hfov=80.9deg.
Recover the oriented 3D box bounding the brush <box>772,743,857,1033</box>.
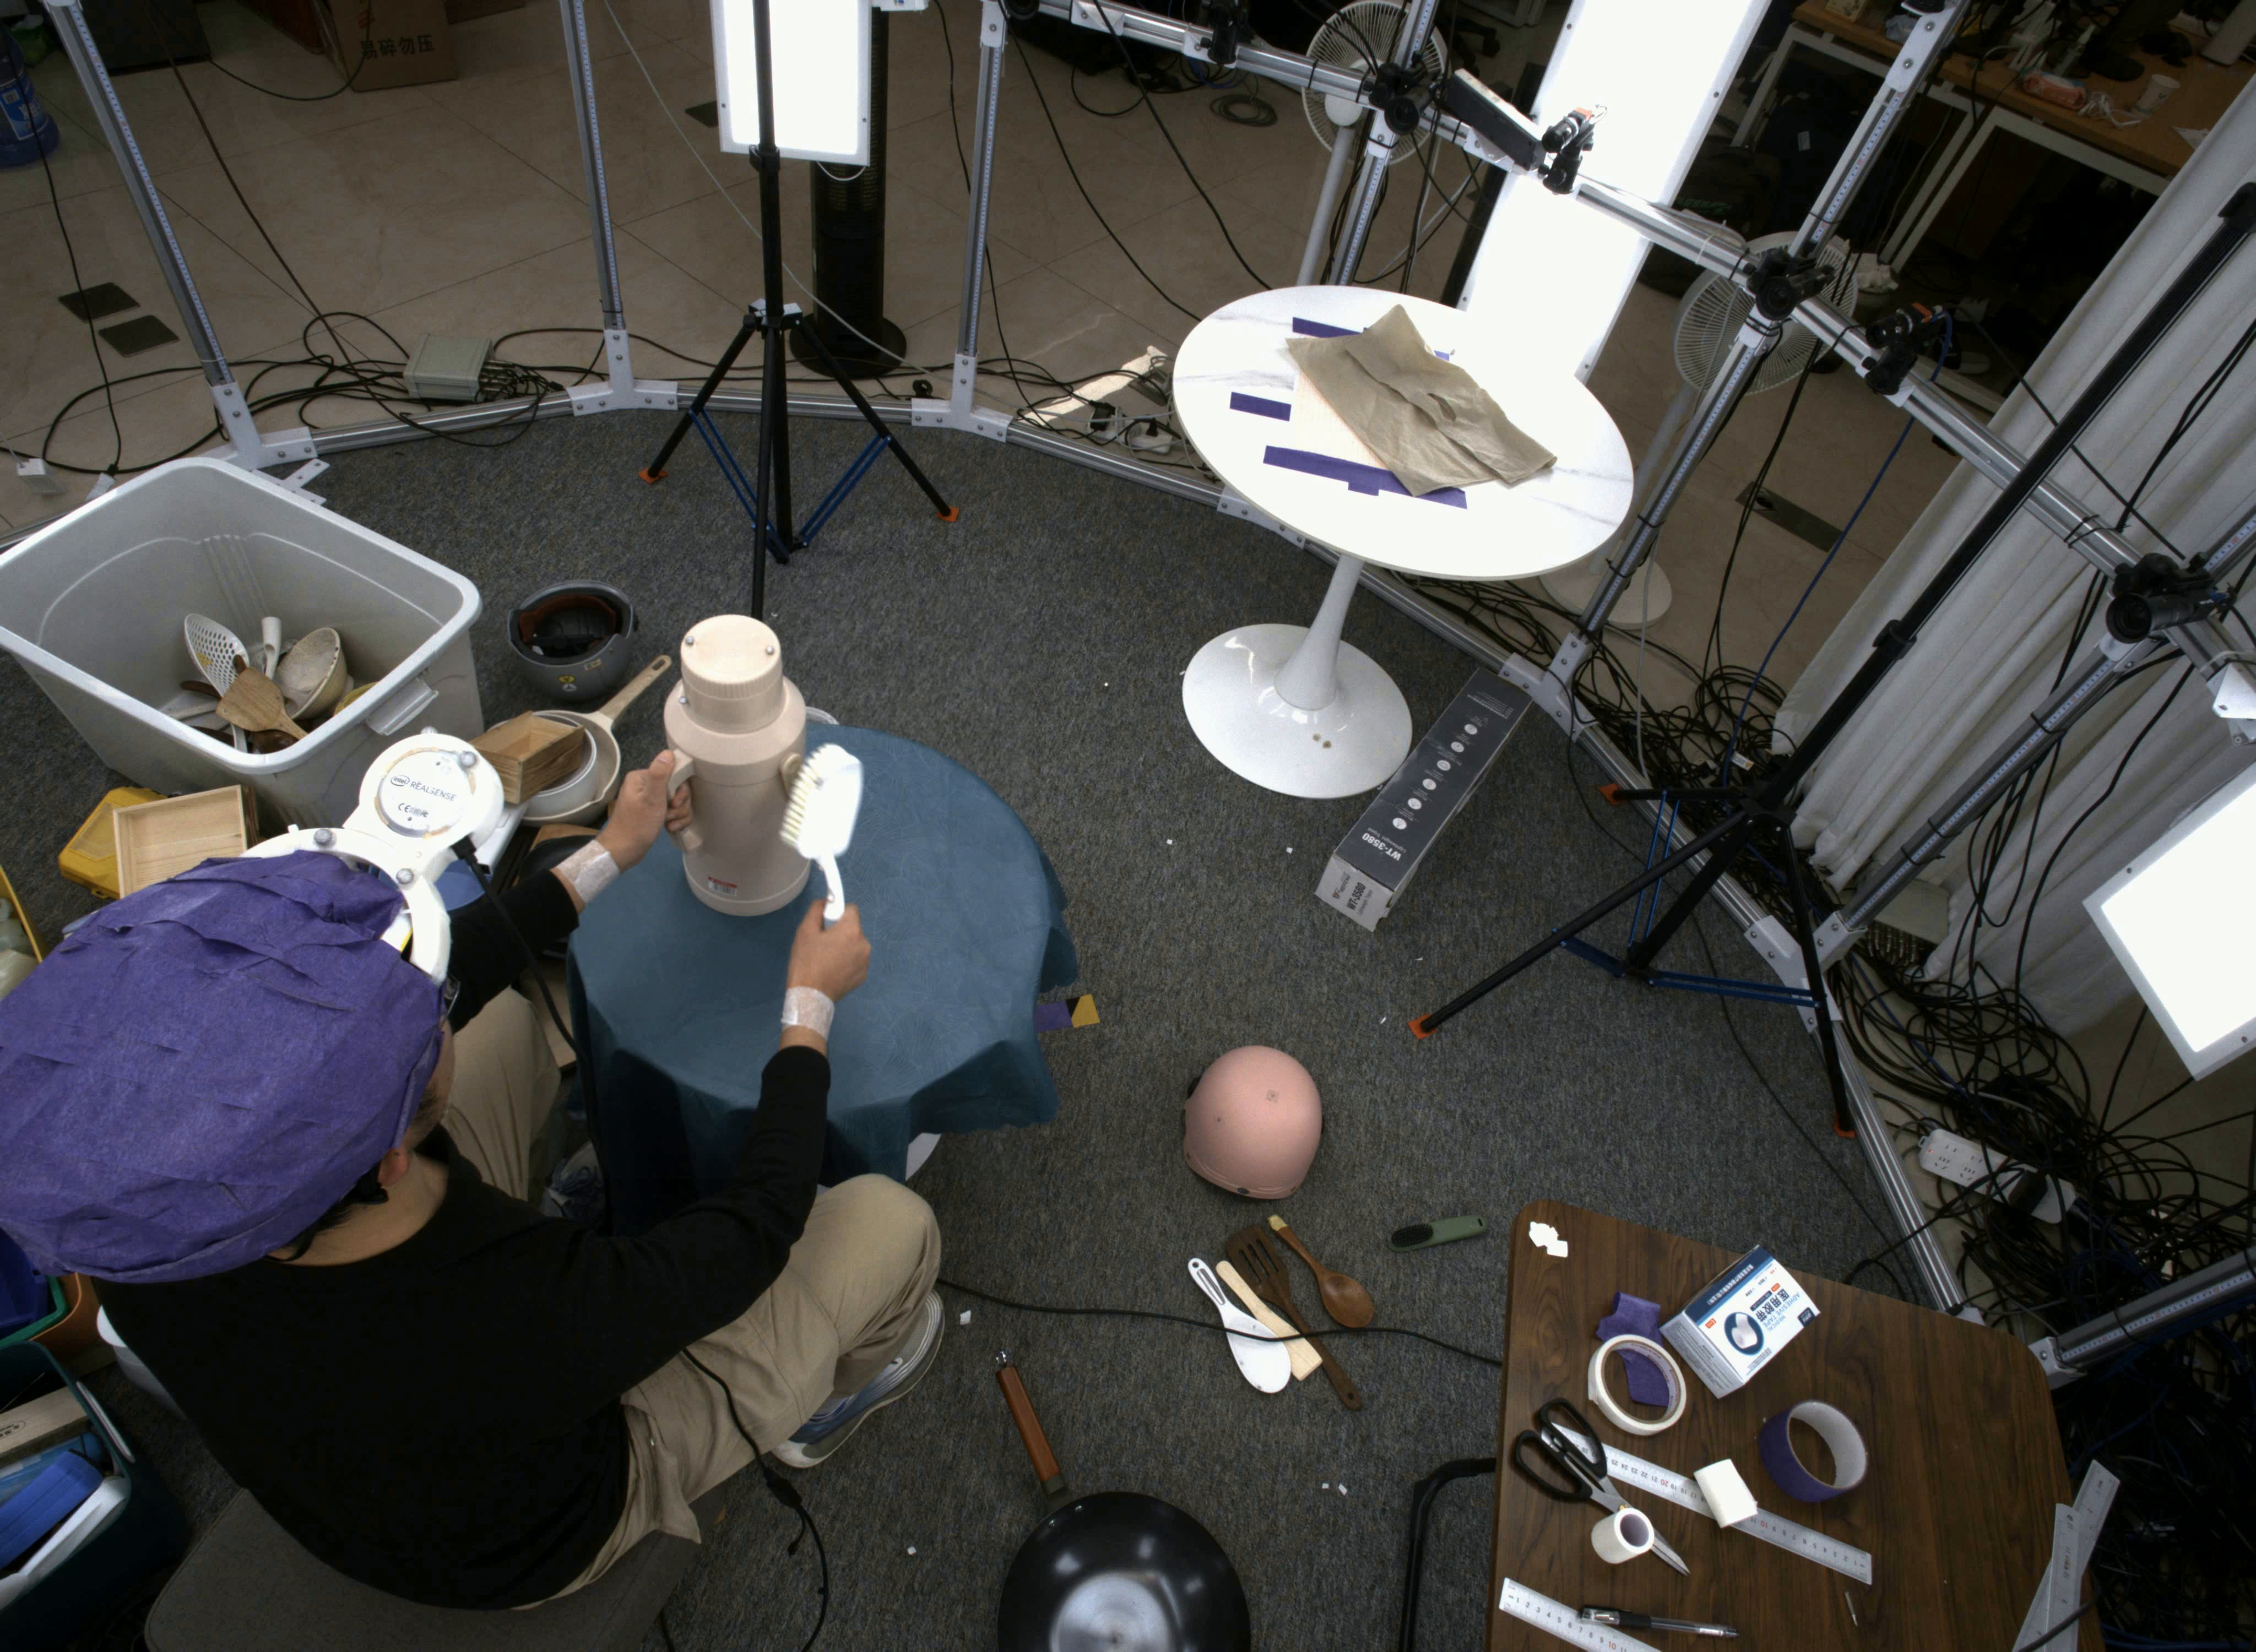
[{"bbox_3d":[-0.370,0.067,1.463,0.083,0.330,0.083,10,8,-14],"label":"brush"}]

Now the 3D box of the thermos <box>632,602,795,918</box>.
[{"bbox_3d":[-0.484,-0.065,1.494,0.172,0.414,0.206,32,52,12],"label":"thermos"}]
